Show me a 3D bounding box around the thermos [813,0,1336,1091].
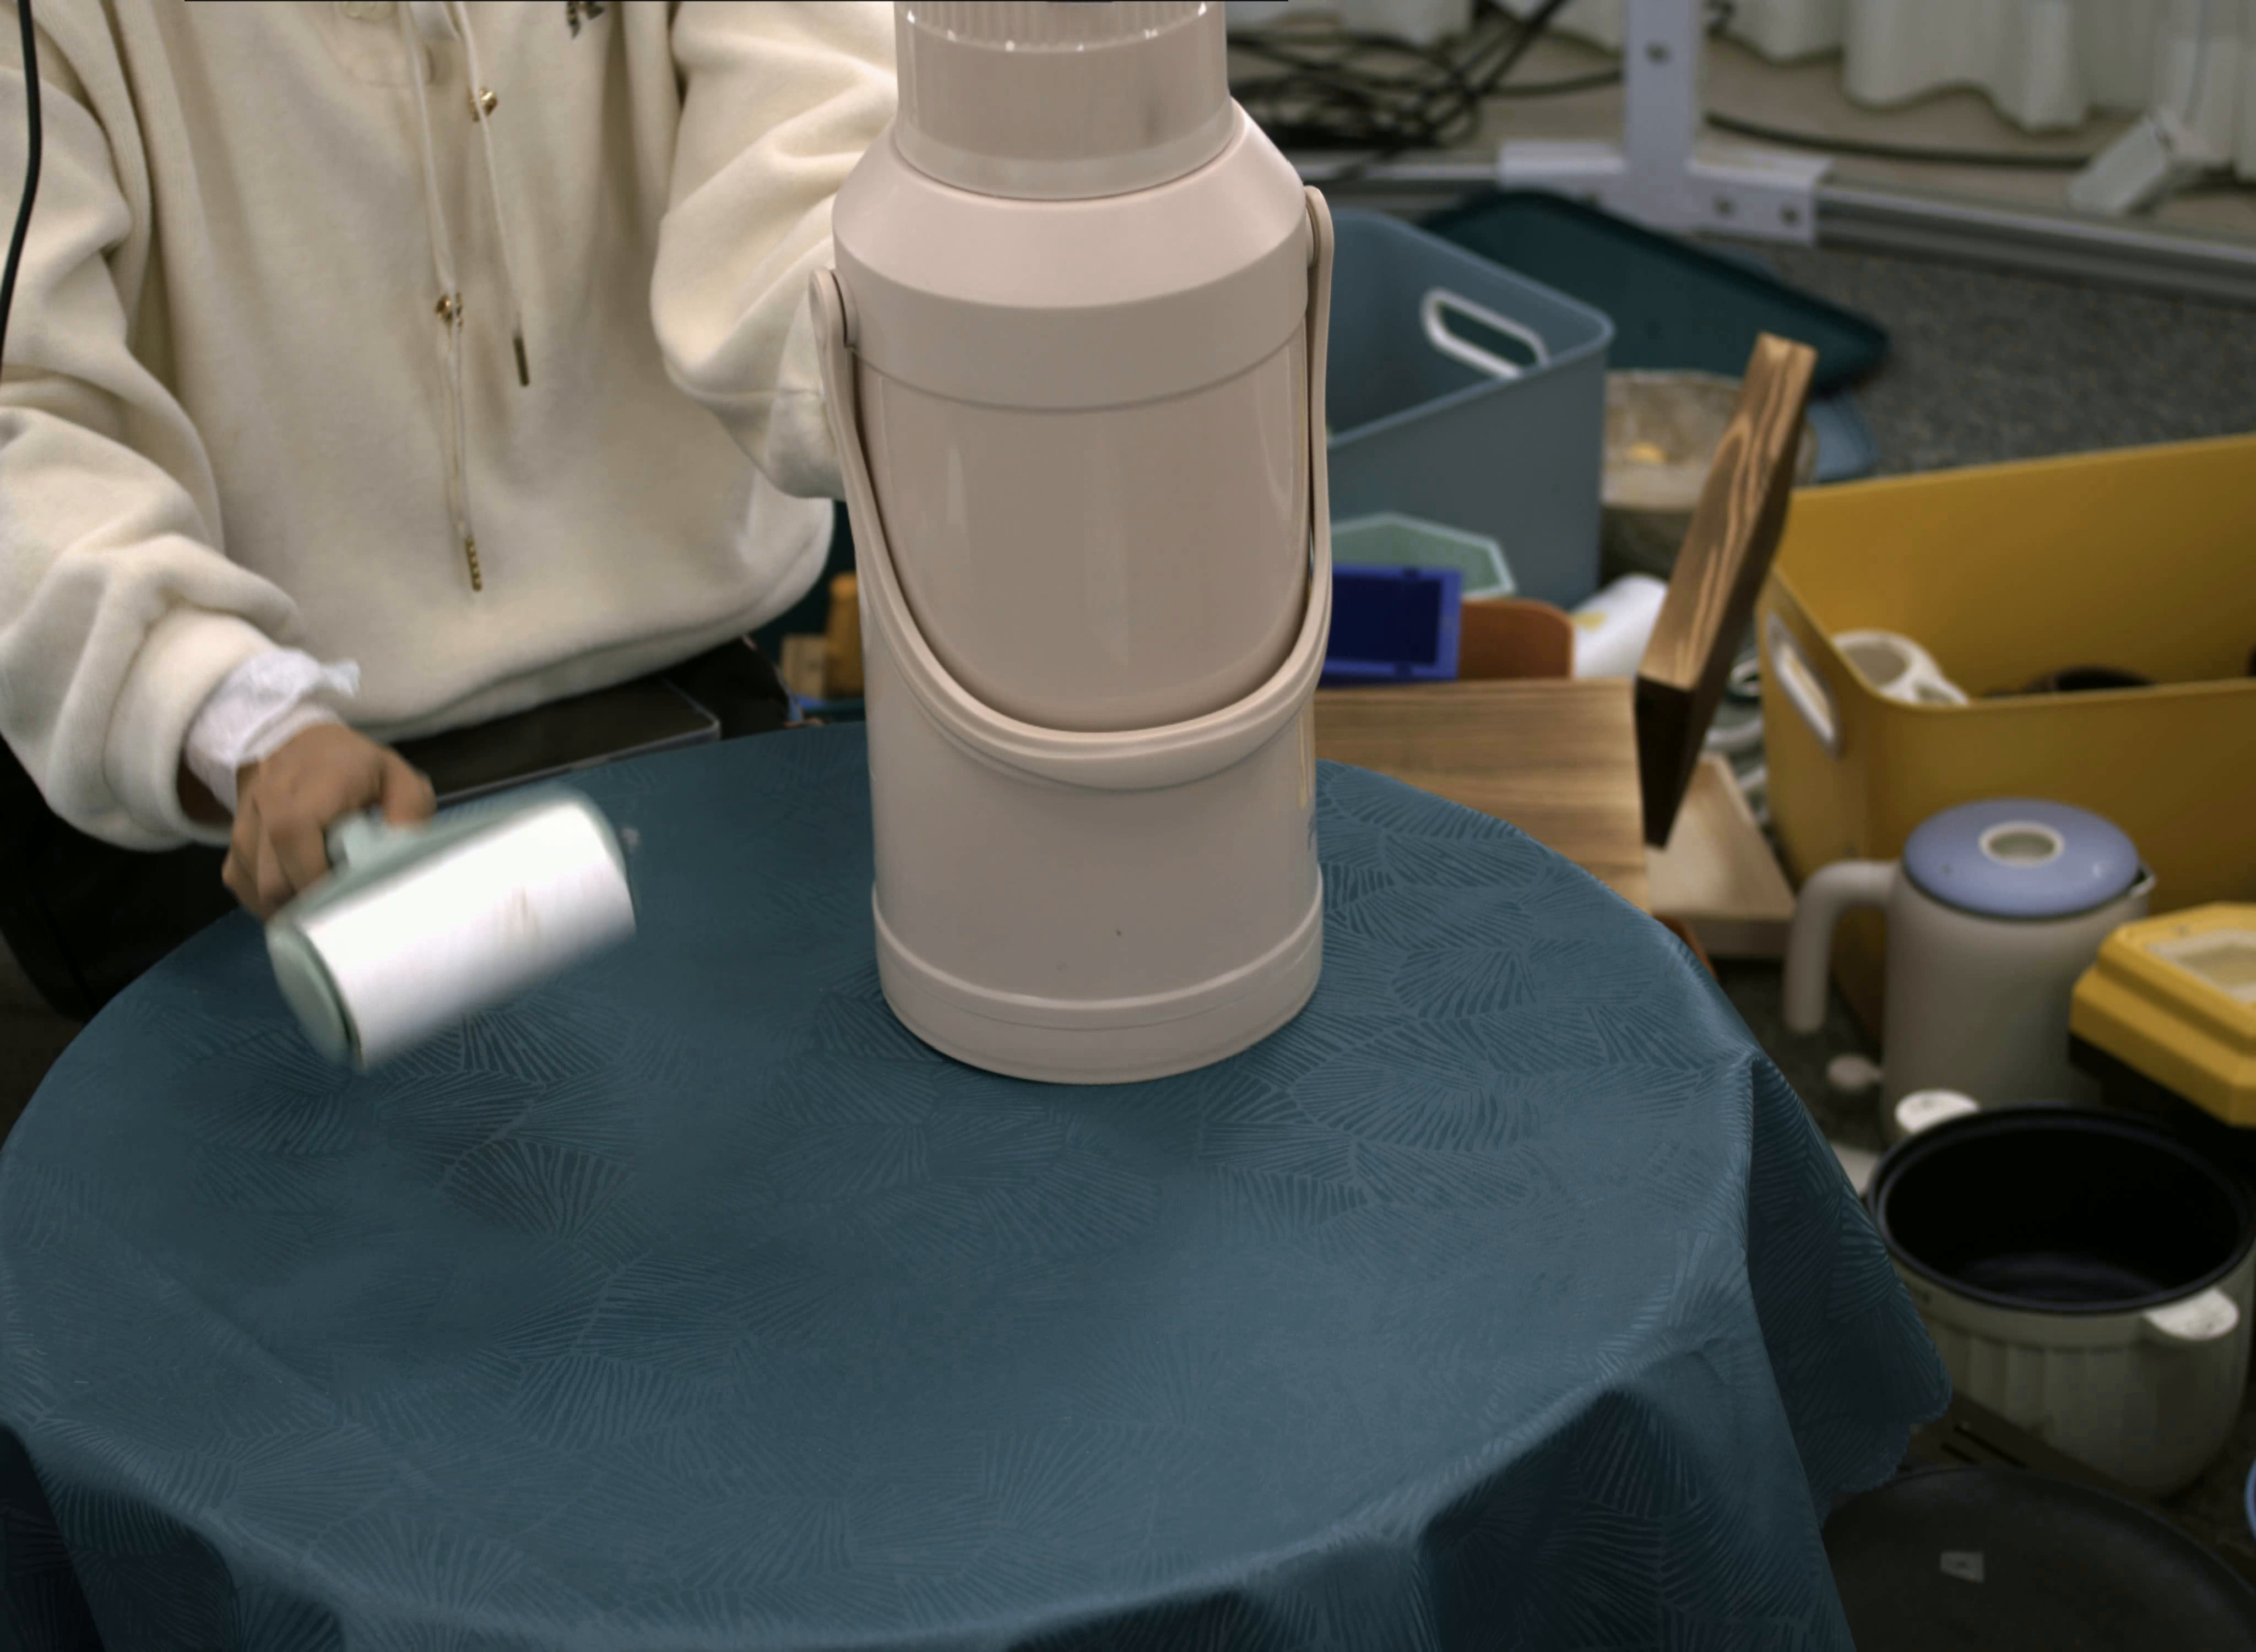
[{"bbox_3d":[-0.018,-0.127,1.910,0.175,0.402,0.209,-11,29,-14],"label":"thermos"}]

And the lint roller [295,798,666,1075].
[{"bbox_3d":[-0.238,0.024,1.881,0.117,0.048,0.197,-29,23,-18],"label":"lint roller"}]
